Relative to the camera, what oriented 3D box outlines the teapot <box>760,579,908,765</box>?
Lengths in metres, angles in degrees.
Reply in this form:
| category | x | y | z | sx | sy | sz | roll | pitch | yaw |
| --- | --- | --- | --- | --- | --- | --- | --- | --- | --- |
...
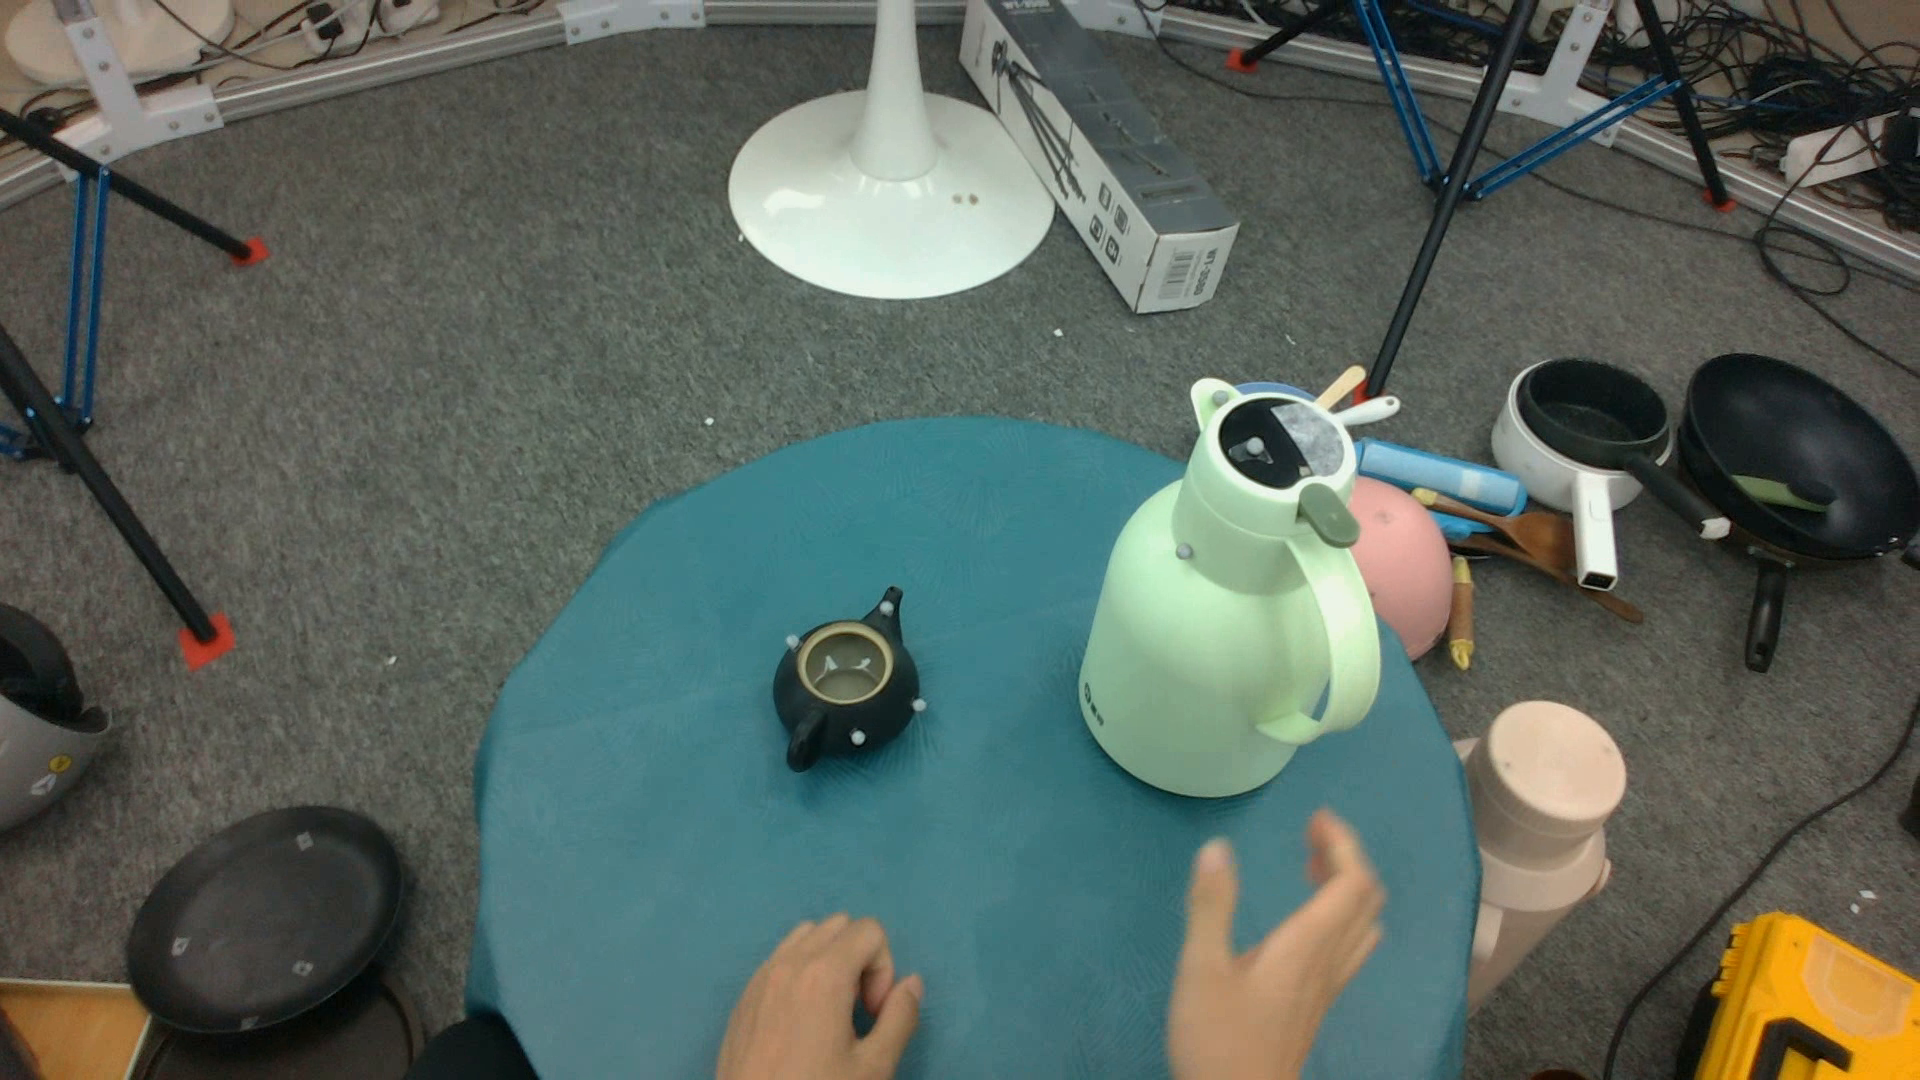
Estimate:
| category | x | y | z | sx | sy | sz | roll | pitch | yaw |
| --- | --- | --- | --- | --- | --- | --- | --- | --- | --- |
| teapot | -0.078 | 0.085 | 0.847 | 0.091 | 0.053 | 0.134 | 21 | 52 | 14 |

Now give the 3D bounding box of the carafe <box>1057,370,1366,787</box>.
| category | x | y | z | sx | sy | sz | roll | pitch | yaw |
| --- | --- | --- | --- | --- | --- | --- | --- | --- | --- |
| carafe | 0.150 | 0.035 | 0.782 | 0.144 | 0.255 | 0.187 | -15 | 58 | -19 |
